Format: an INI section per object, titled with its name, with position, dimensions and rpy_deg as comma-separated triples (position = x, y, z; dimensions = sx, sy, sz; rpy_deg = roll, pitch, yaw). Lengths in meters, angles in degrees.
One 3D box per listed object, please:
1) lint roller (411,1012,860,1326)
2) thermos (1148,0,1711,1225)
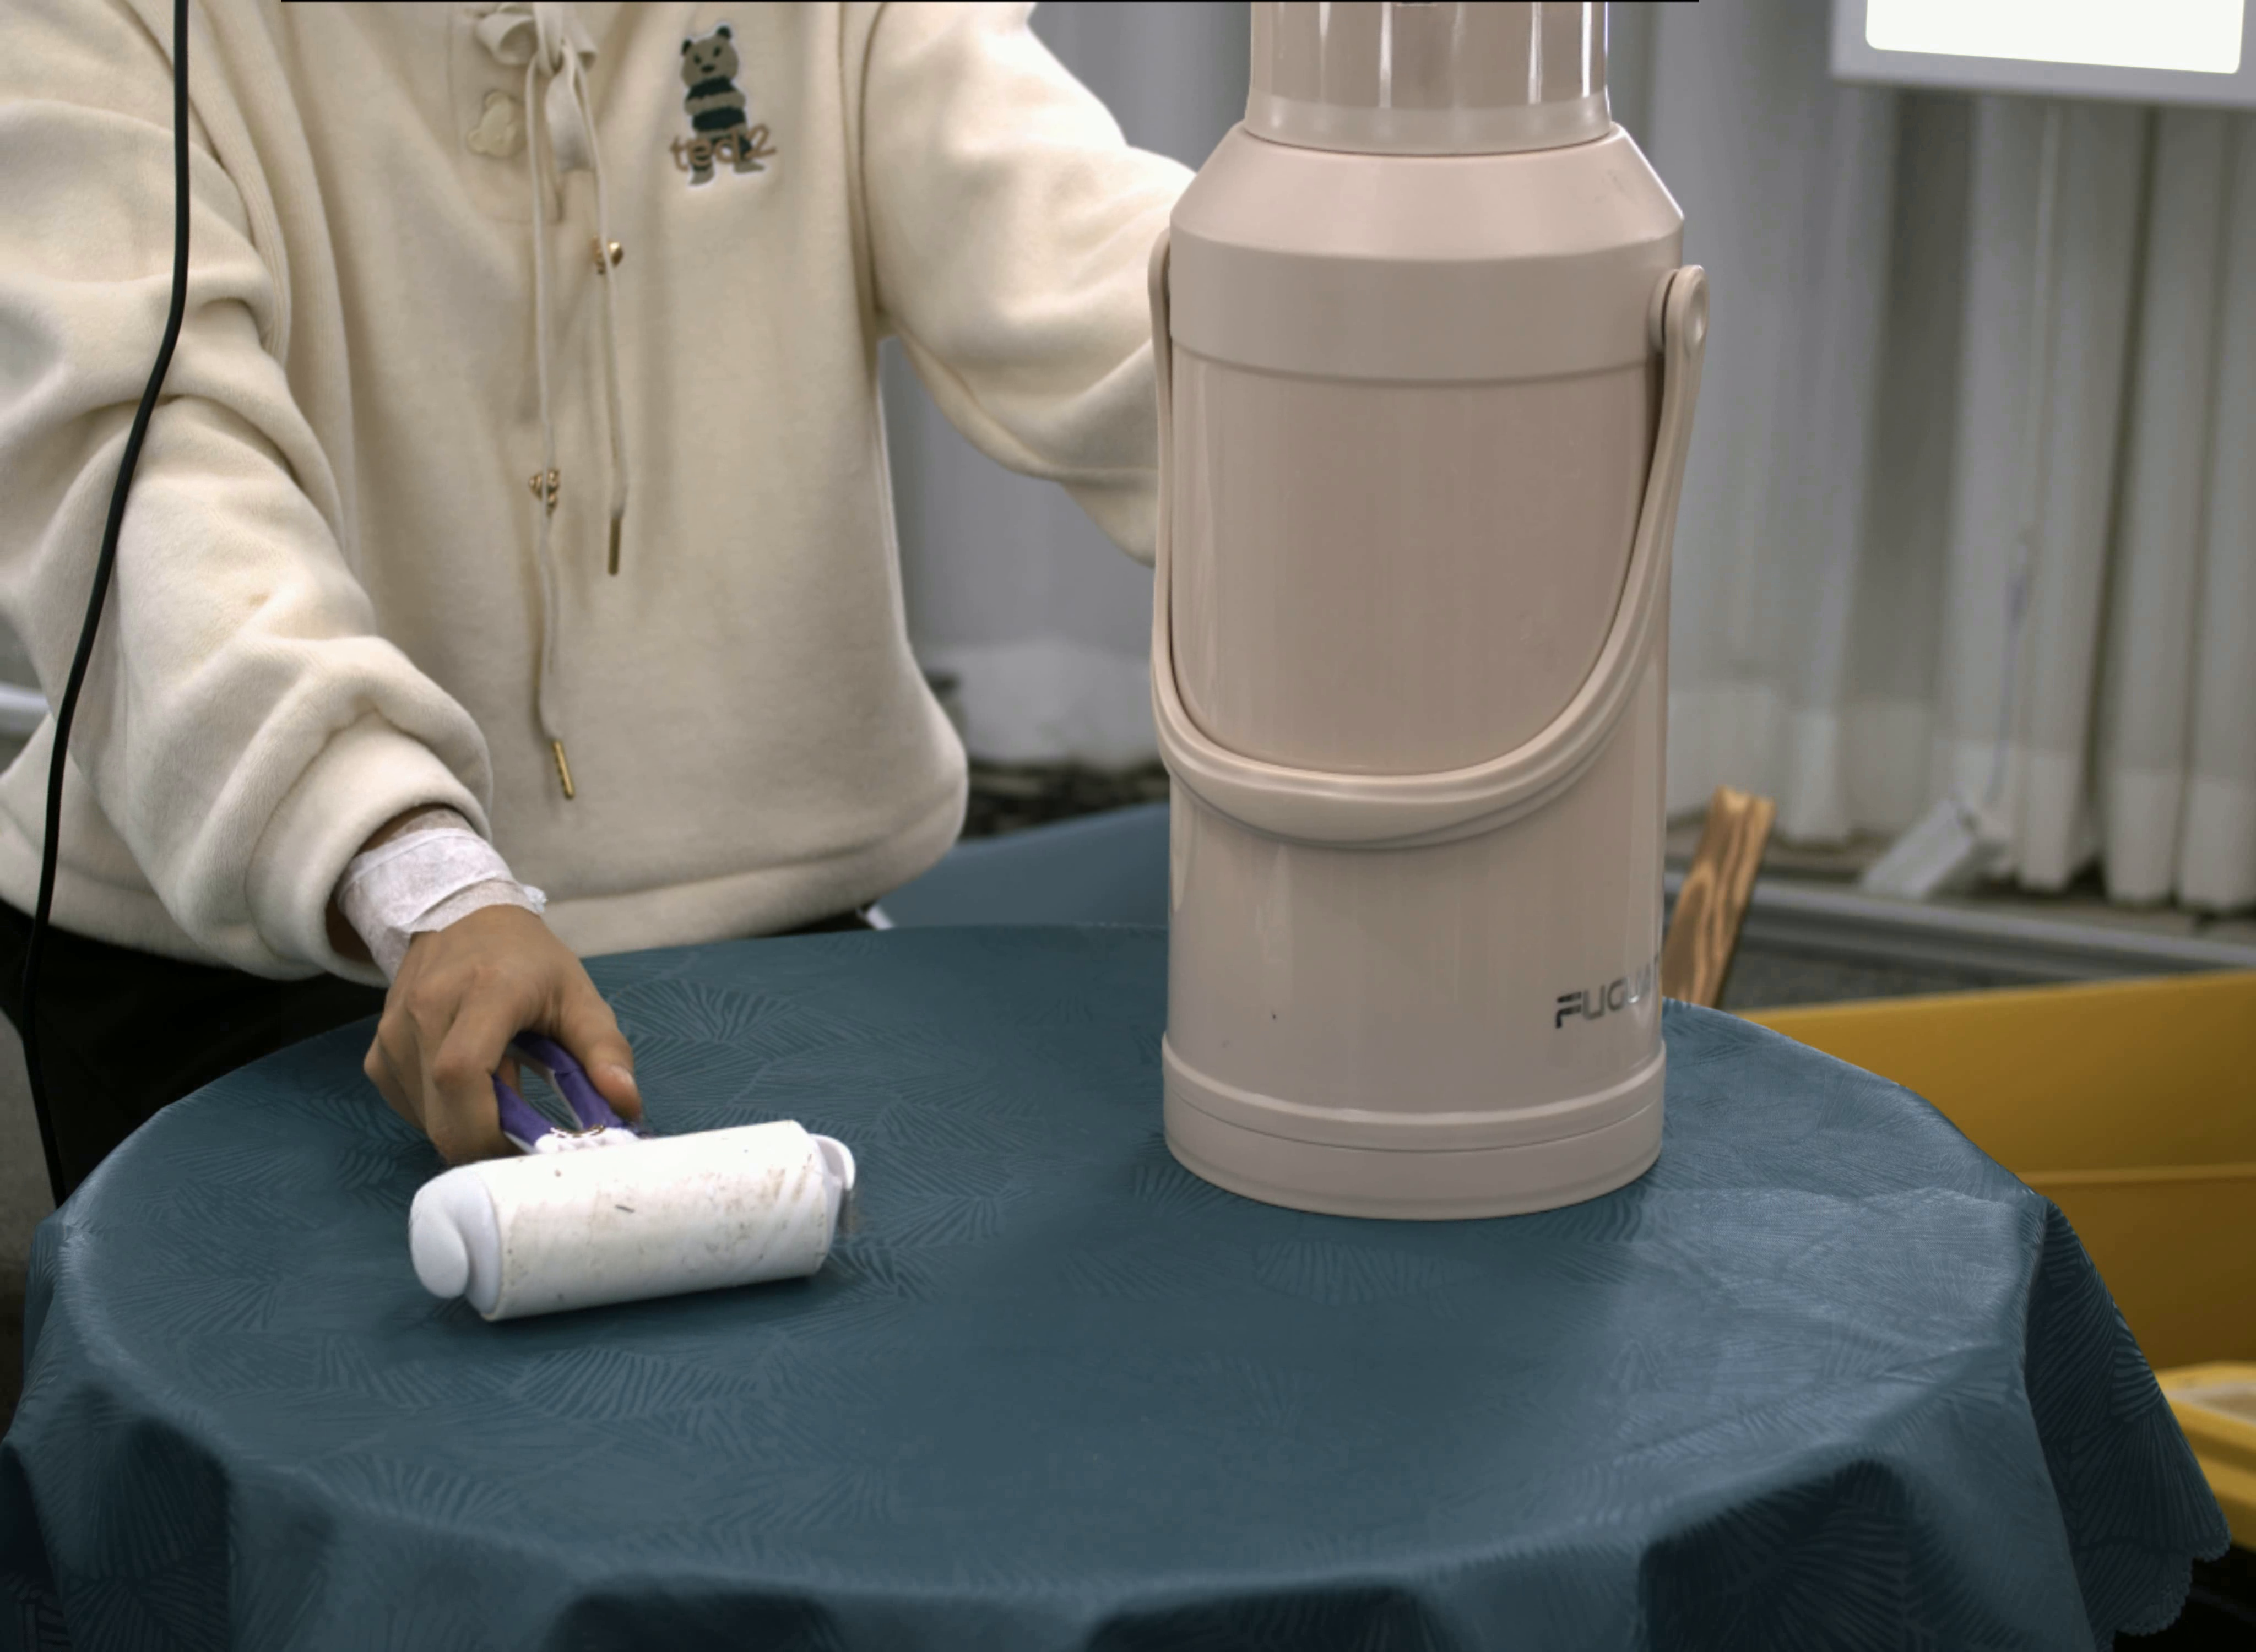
[lint roller]
position = -0.164, 0.085, 1.576
dimensions = 0.133, 0.050, 0.178
rpy_deg = -6, 30, -21
[thermos]
position = 0.097, -0.094, 1.626
dimensions = 0.173, 0.409, 0.207
rpy_deg = 7, 17, 23
